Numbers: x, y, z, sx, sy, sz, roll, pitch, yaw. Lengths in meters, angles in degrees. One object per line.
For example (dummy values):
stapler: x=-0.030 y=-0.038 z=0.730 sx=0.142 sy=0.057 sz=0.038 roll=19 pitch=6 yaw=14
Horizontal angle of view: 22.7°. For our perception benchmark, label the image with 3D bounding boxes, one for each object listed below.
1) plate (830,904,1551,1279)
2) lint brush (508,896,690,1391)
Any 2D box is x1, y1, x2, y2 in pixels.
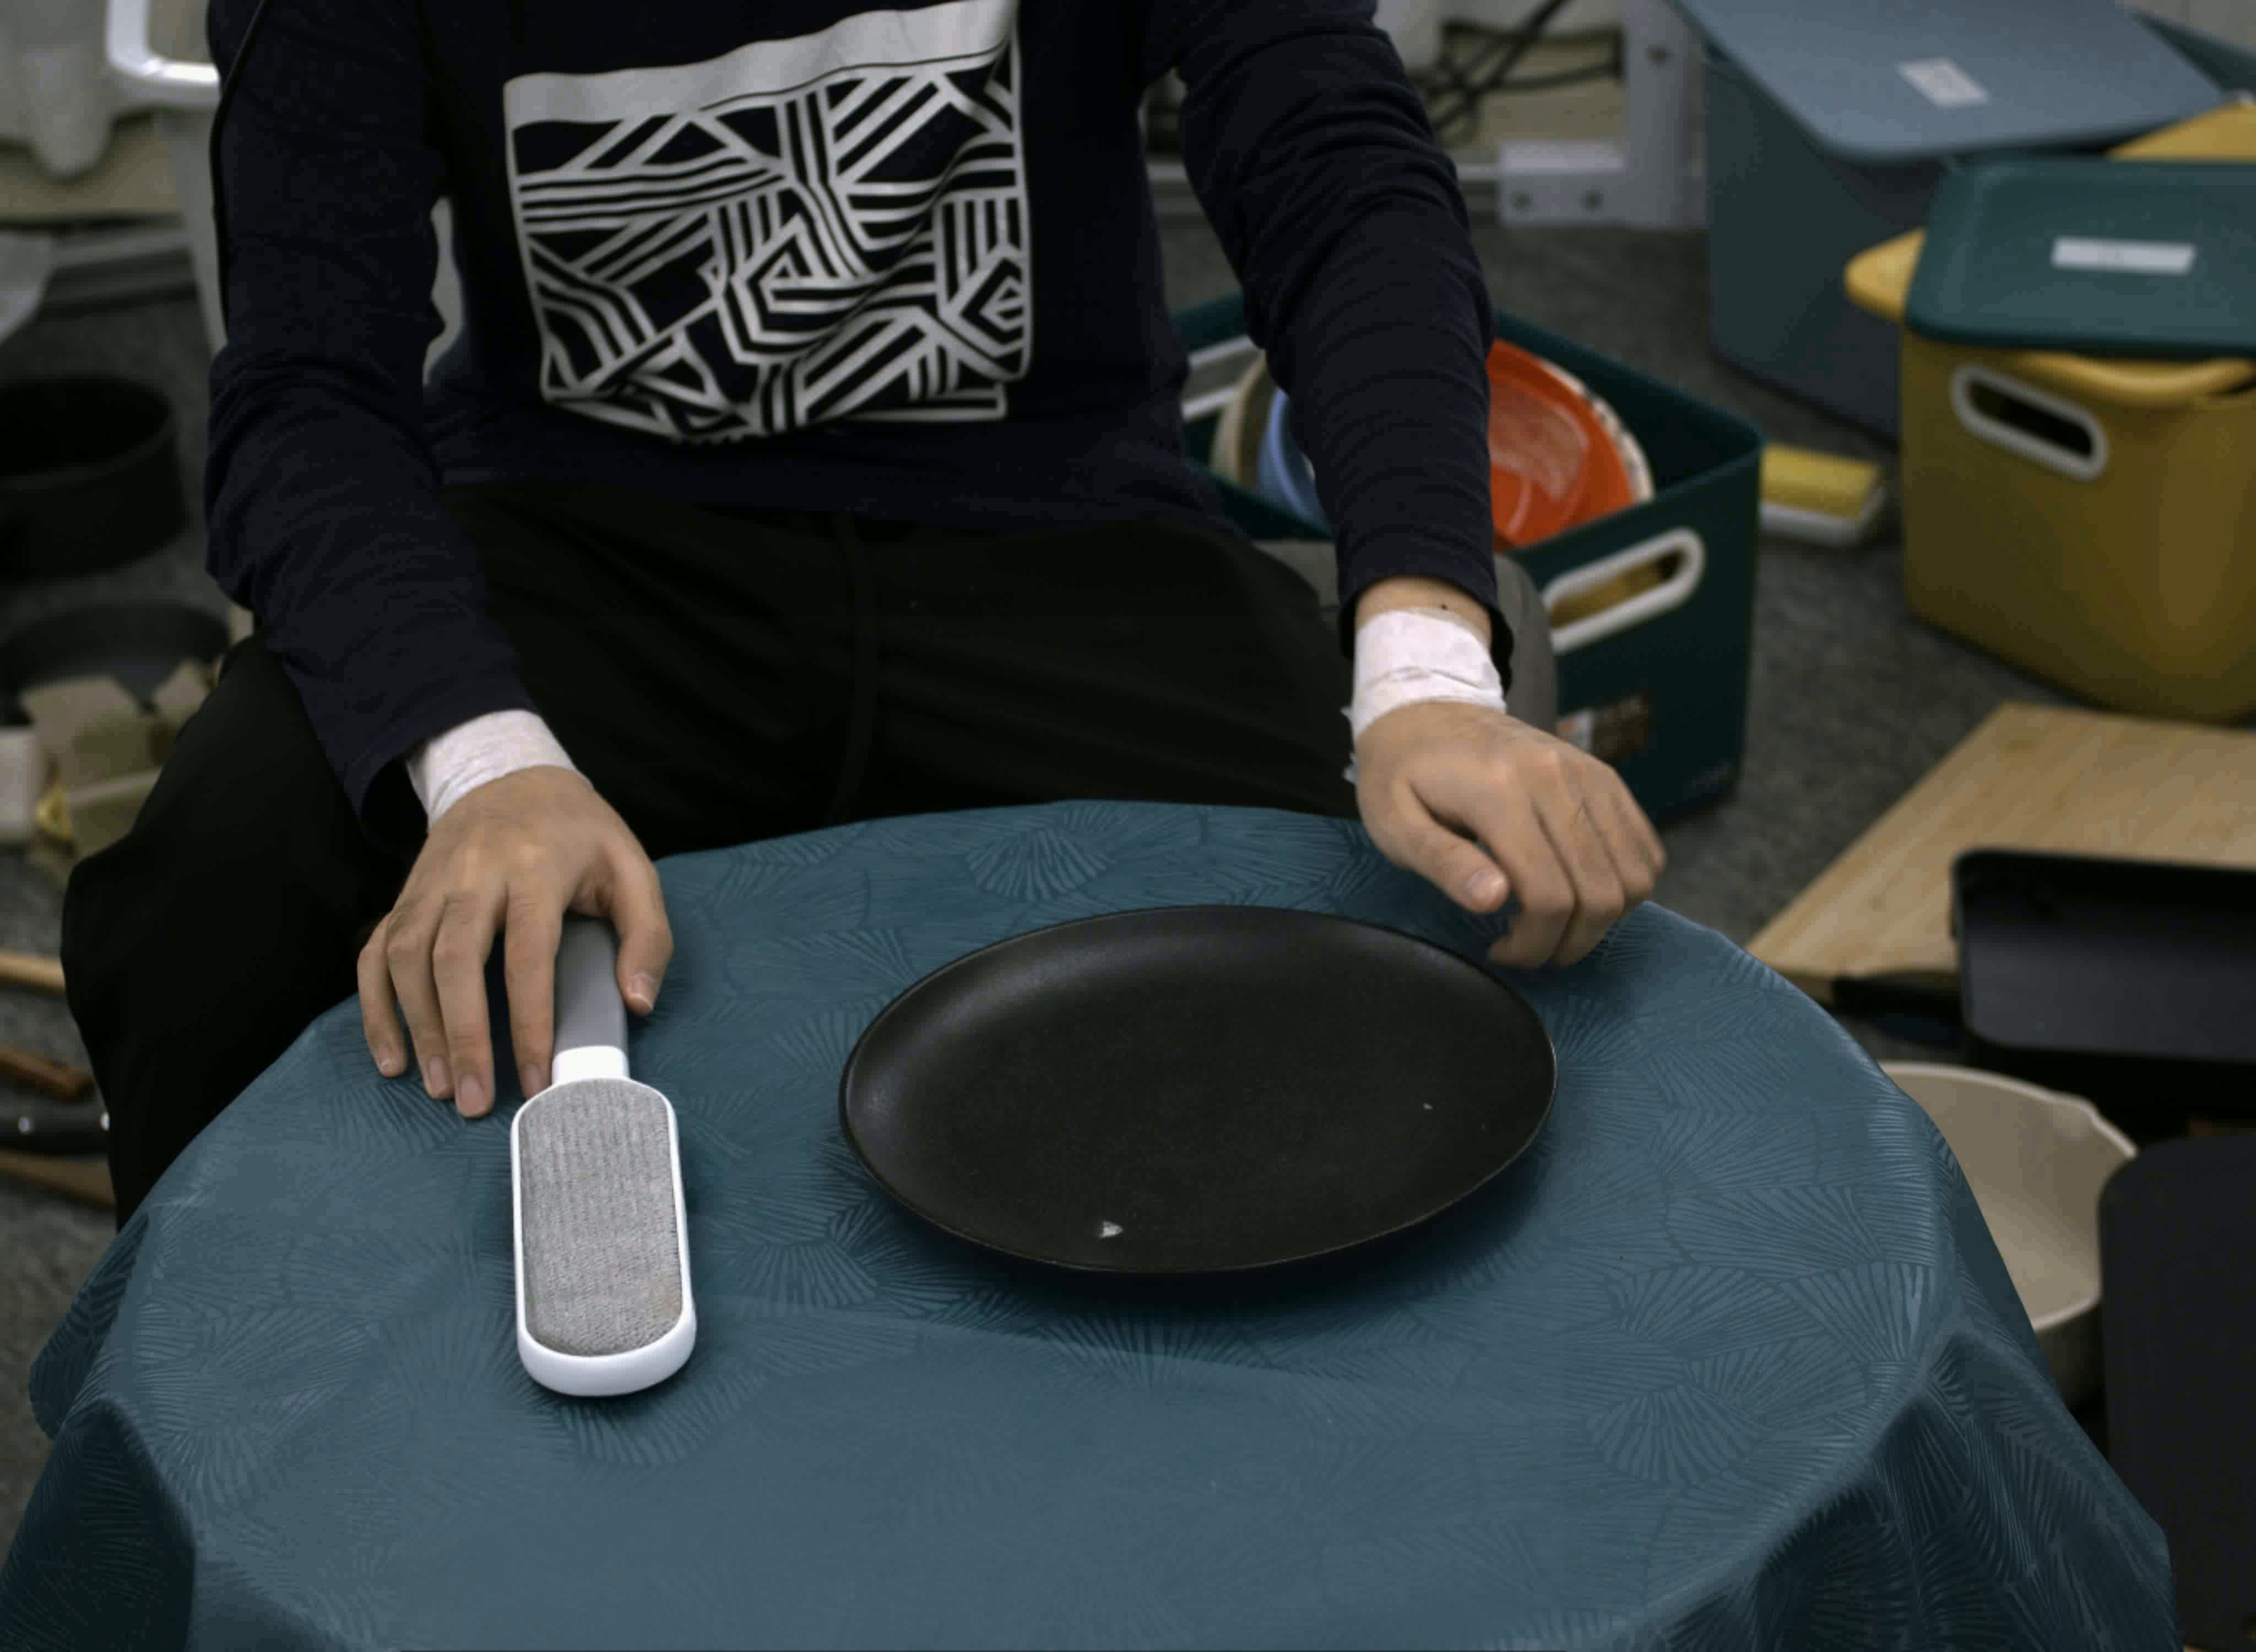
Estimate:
plate: x=0.021 y=0.093 z=1.890 sx=0.243 sy=0.023 sz=0.248 roll=-2 pitch=27 yaw=1
lint brush: x=-0.179 y=0.101 z=1.888 sx=0.060 sy=0.021 sz=0.313 roll=-9 pitch=27 yaw=-2
